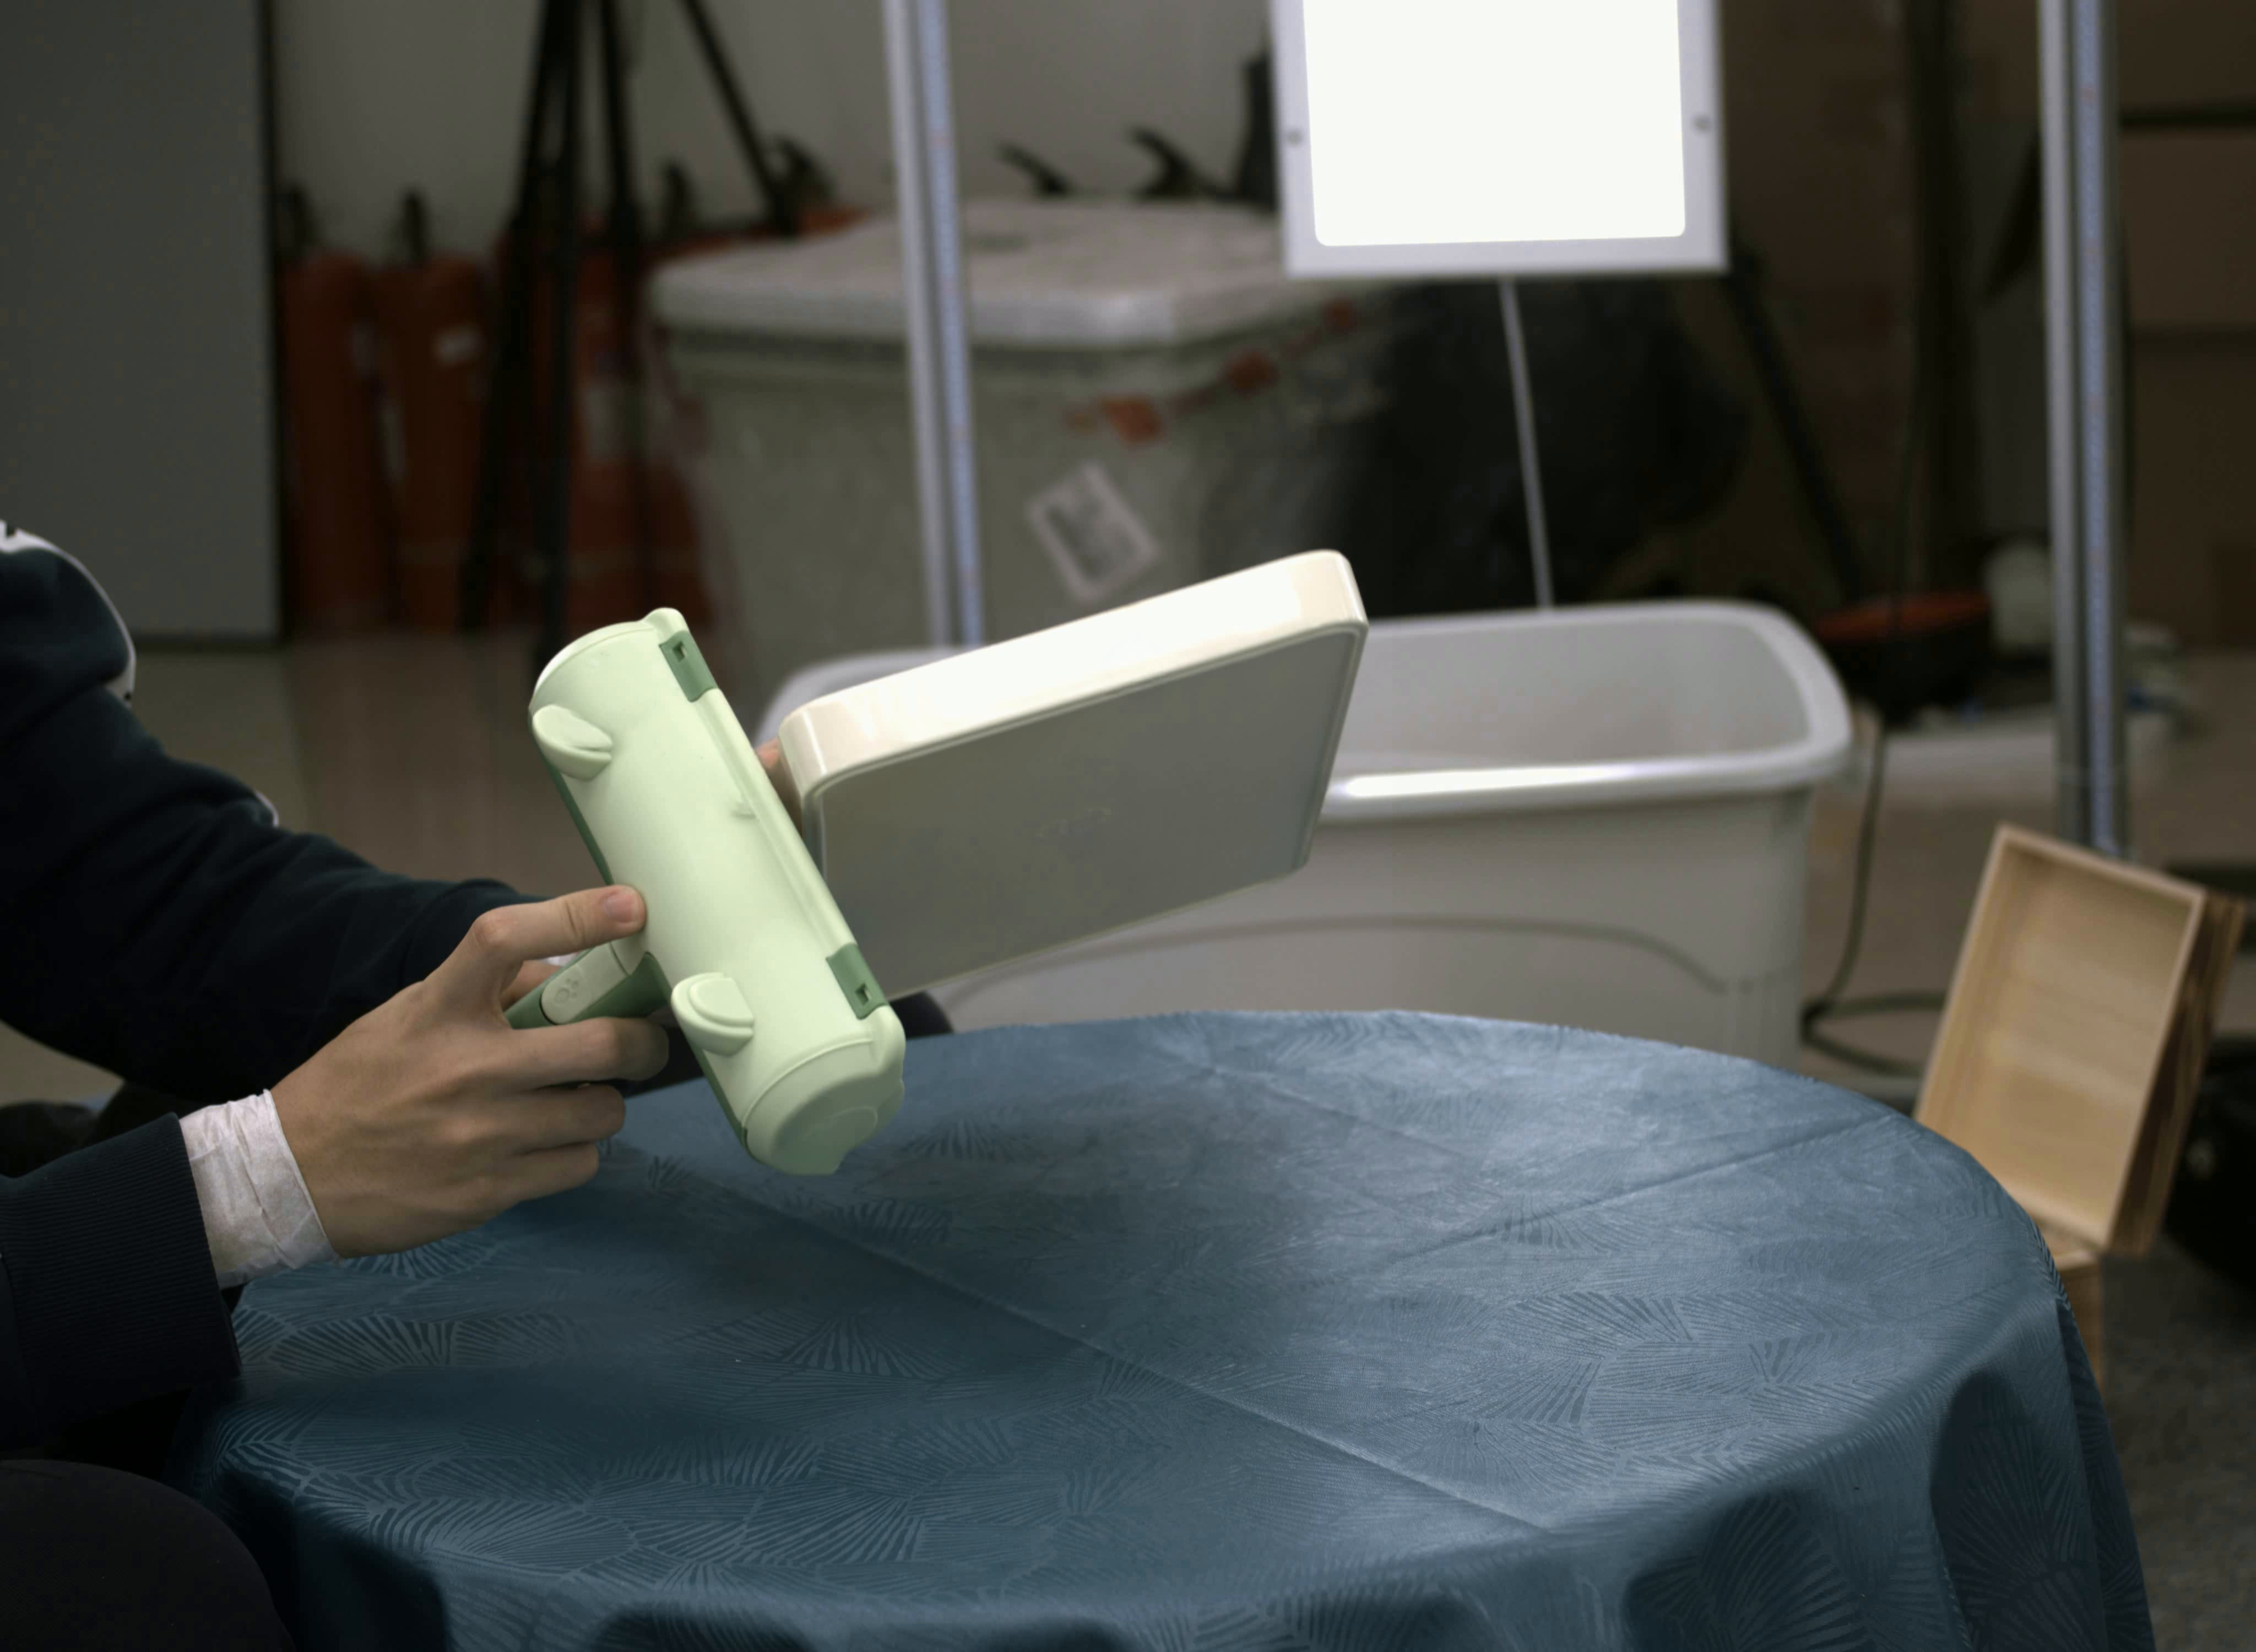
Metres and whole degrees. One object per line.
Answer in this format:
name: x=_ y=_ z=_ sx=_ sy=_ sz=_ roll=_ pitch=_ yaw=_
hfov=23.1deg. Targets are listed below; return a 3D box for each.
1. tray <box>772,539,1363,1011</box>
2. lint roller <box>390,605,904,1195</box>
tray: x=-0.023 y=-0.009 z=1.845 sx=0.190 sy=0.027 sz=0.301 roll=-17 pitch=-16 yaw=-6
lint roller: x=-0.178 y=0.051 z=1.744 sx=0.185 sy=0.200 sz=0.081 roll=-37 pitch=-33 yaw=12
